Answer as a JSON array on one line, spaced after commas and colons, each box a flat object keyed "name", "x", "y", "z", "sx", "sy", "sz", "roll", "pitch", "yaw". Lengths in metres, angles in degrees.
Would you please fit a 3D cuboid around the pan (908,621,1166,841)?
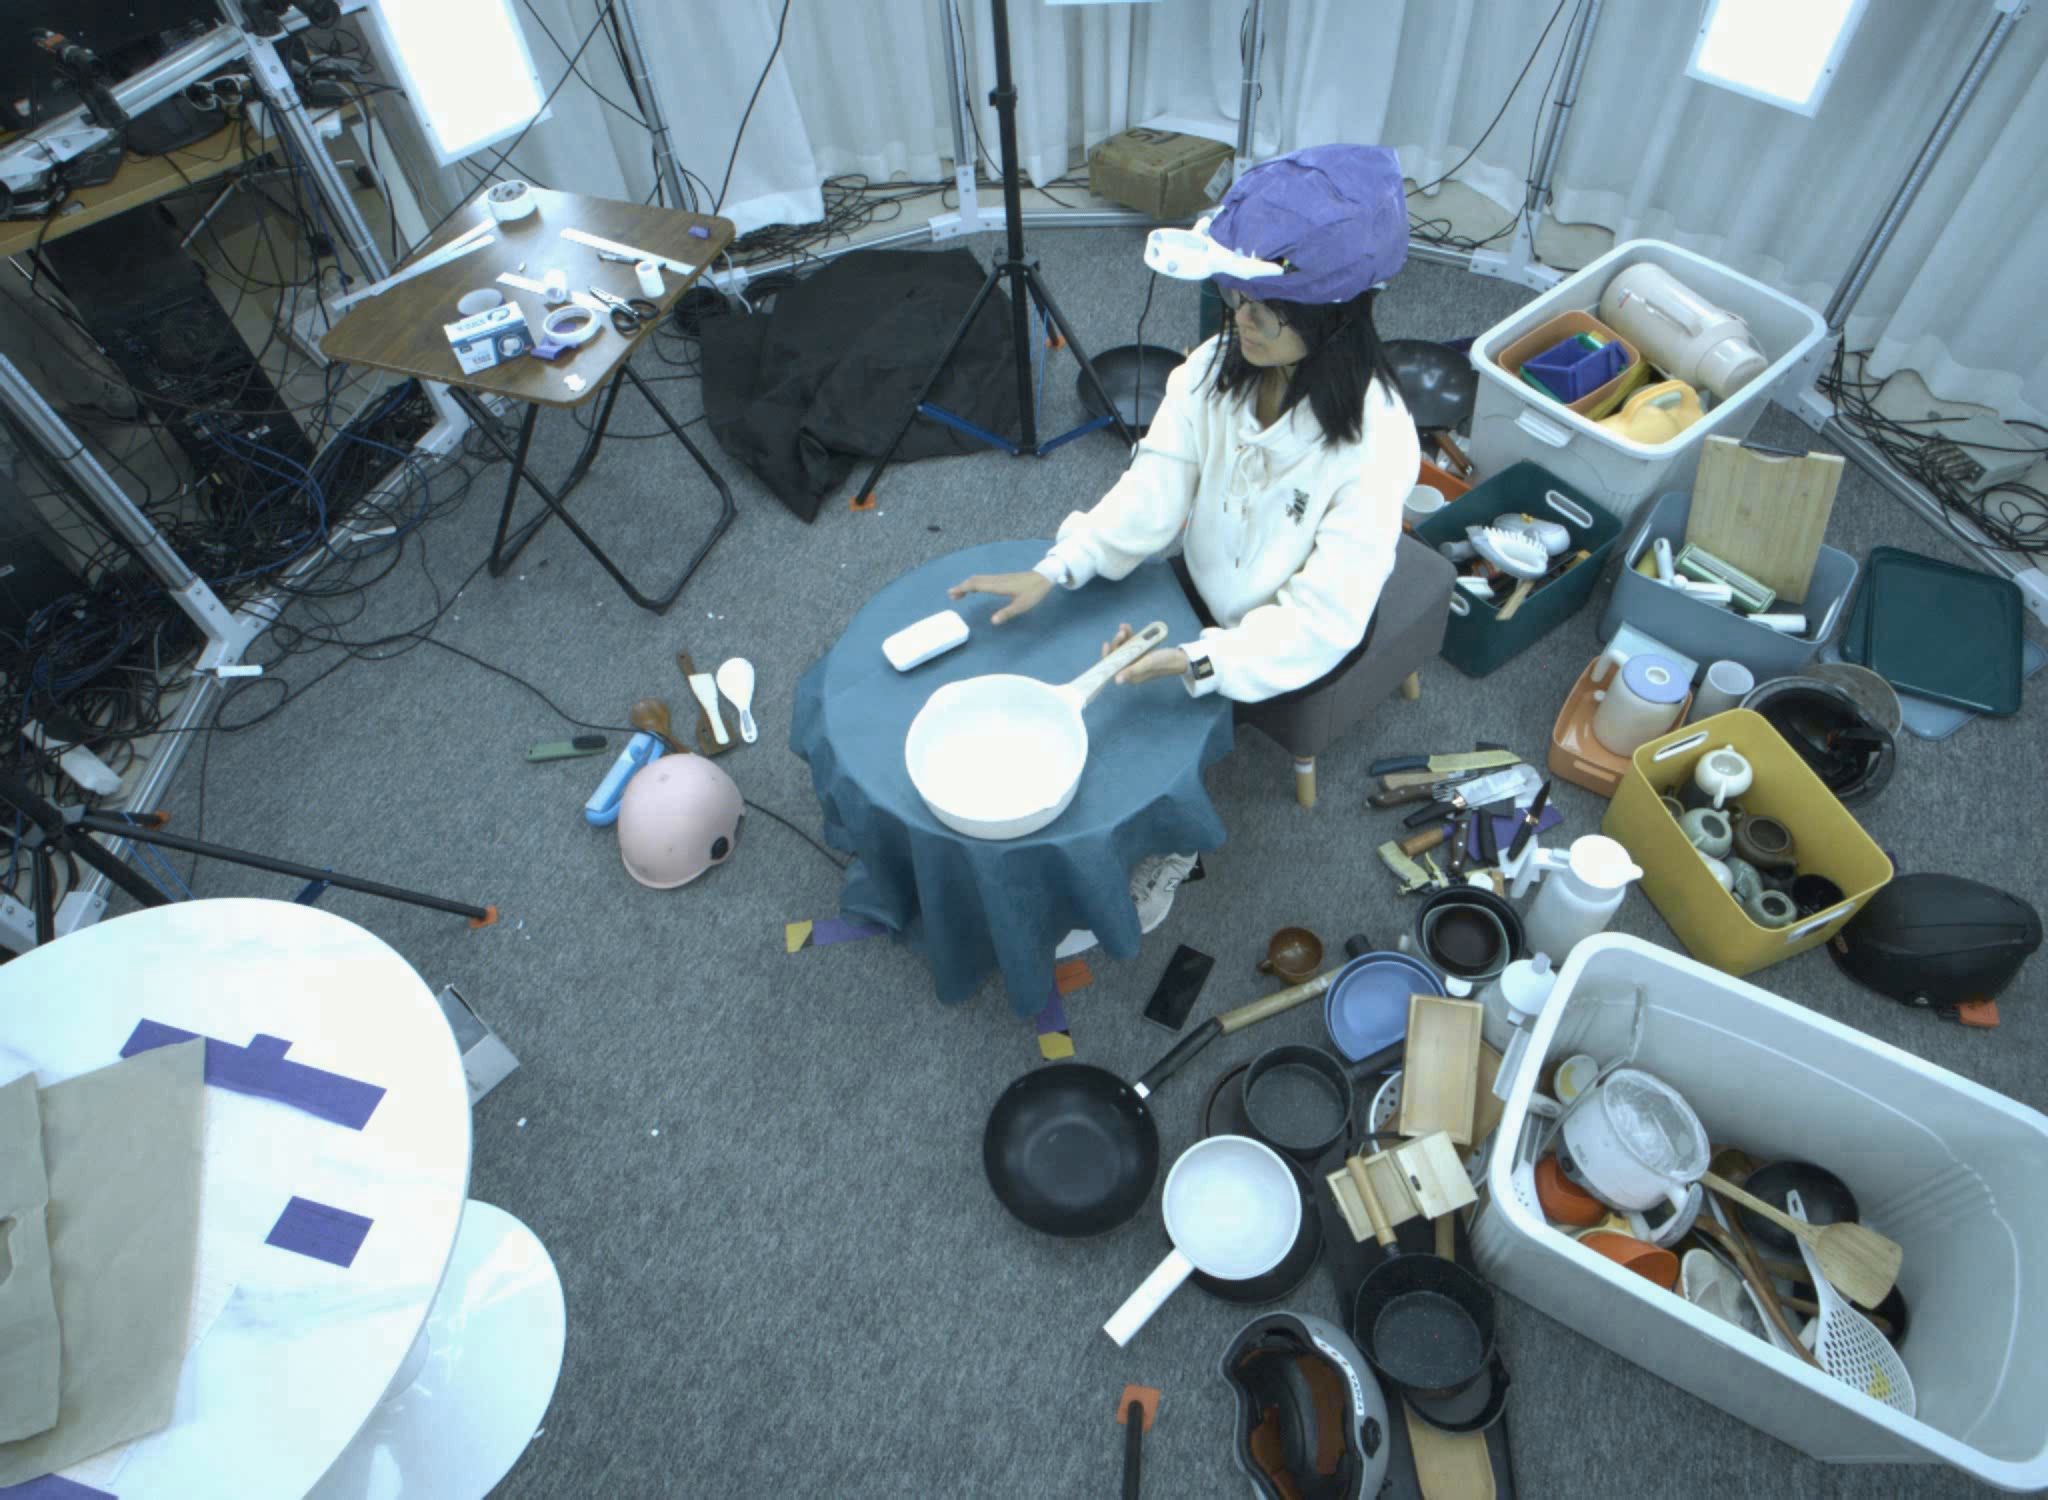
[{"name": "pan", "x": 0.039, "y": -0.036, "z": 1.749, "sx": 0.438, "sy": 0.103, "sz": 0.258, "roll": -35, "pitch": 59, "yaw": -20}]

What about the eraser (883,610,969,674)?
[{"name": "eraser", "x": -0.151, "y": -0.168, "z": 1.893, "sx": 0.132, "sy": 0.035, "sz": 0.062, "roll": -28, "pitch": 61, "yaw": -16}]
